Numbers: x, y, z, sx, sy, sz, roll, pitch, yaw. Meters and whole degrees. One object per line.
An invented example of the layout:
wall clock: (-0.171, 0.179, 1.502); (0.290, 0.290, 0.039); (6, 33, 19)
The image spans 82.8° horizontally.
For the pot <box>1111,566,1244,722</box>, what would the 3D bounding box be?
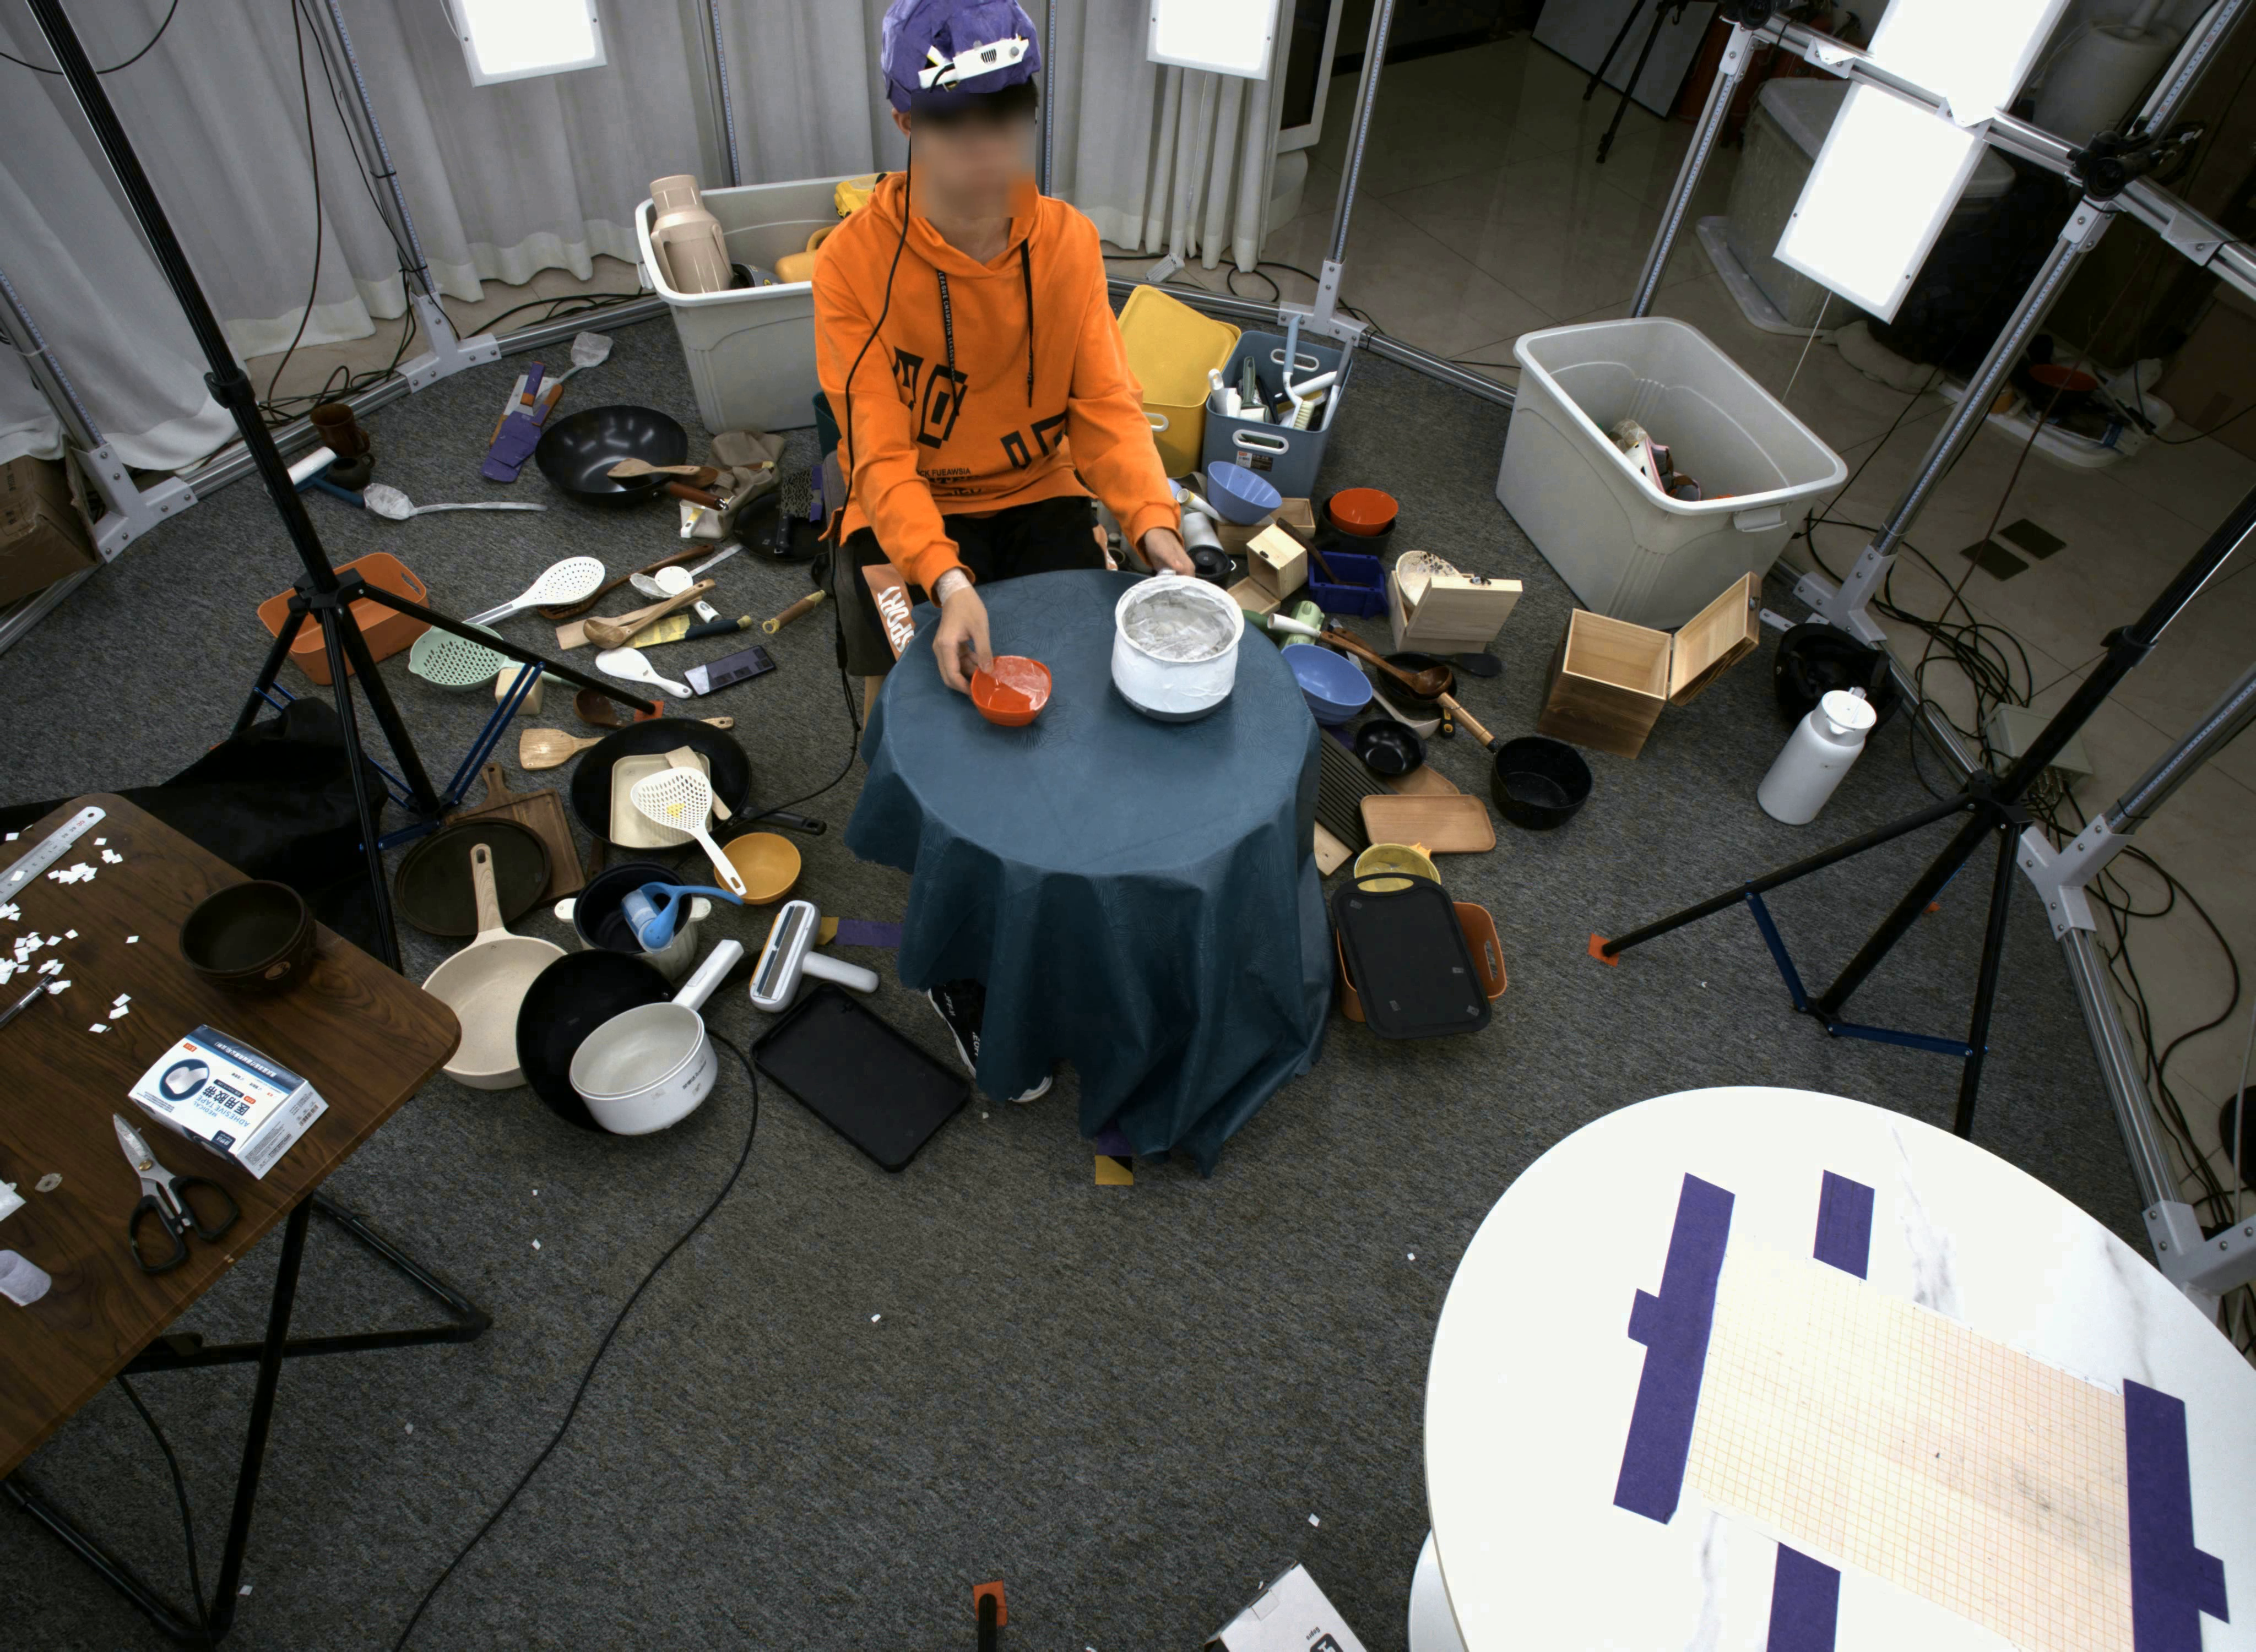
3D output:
pot: (0.062, -0.266, 1.815); (0.178, 0.133, 0.239); (-4, 50, -8)

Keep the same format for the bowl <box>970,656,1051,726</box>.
bowl: (-0.162, -0.181, 1.782); (0.119, 0.050, 0.122); (1, 50, -2)
